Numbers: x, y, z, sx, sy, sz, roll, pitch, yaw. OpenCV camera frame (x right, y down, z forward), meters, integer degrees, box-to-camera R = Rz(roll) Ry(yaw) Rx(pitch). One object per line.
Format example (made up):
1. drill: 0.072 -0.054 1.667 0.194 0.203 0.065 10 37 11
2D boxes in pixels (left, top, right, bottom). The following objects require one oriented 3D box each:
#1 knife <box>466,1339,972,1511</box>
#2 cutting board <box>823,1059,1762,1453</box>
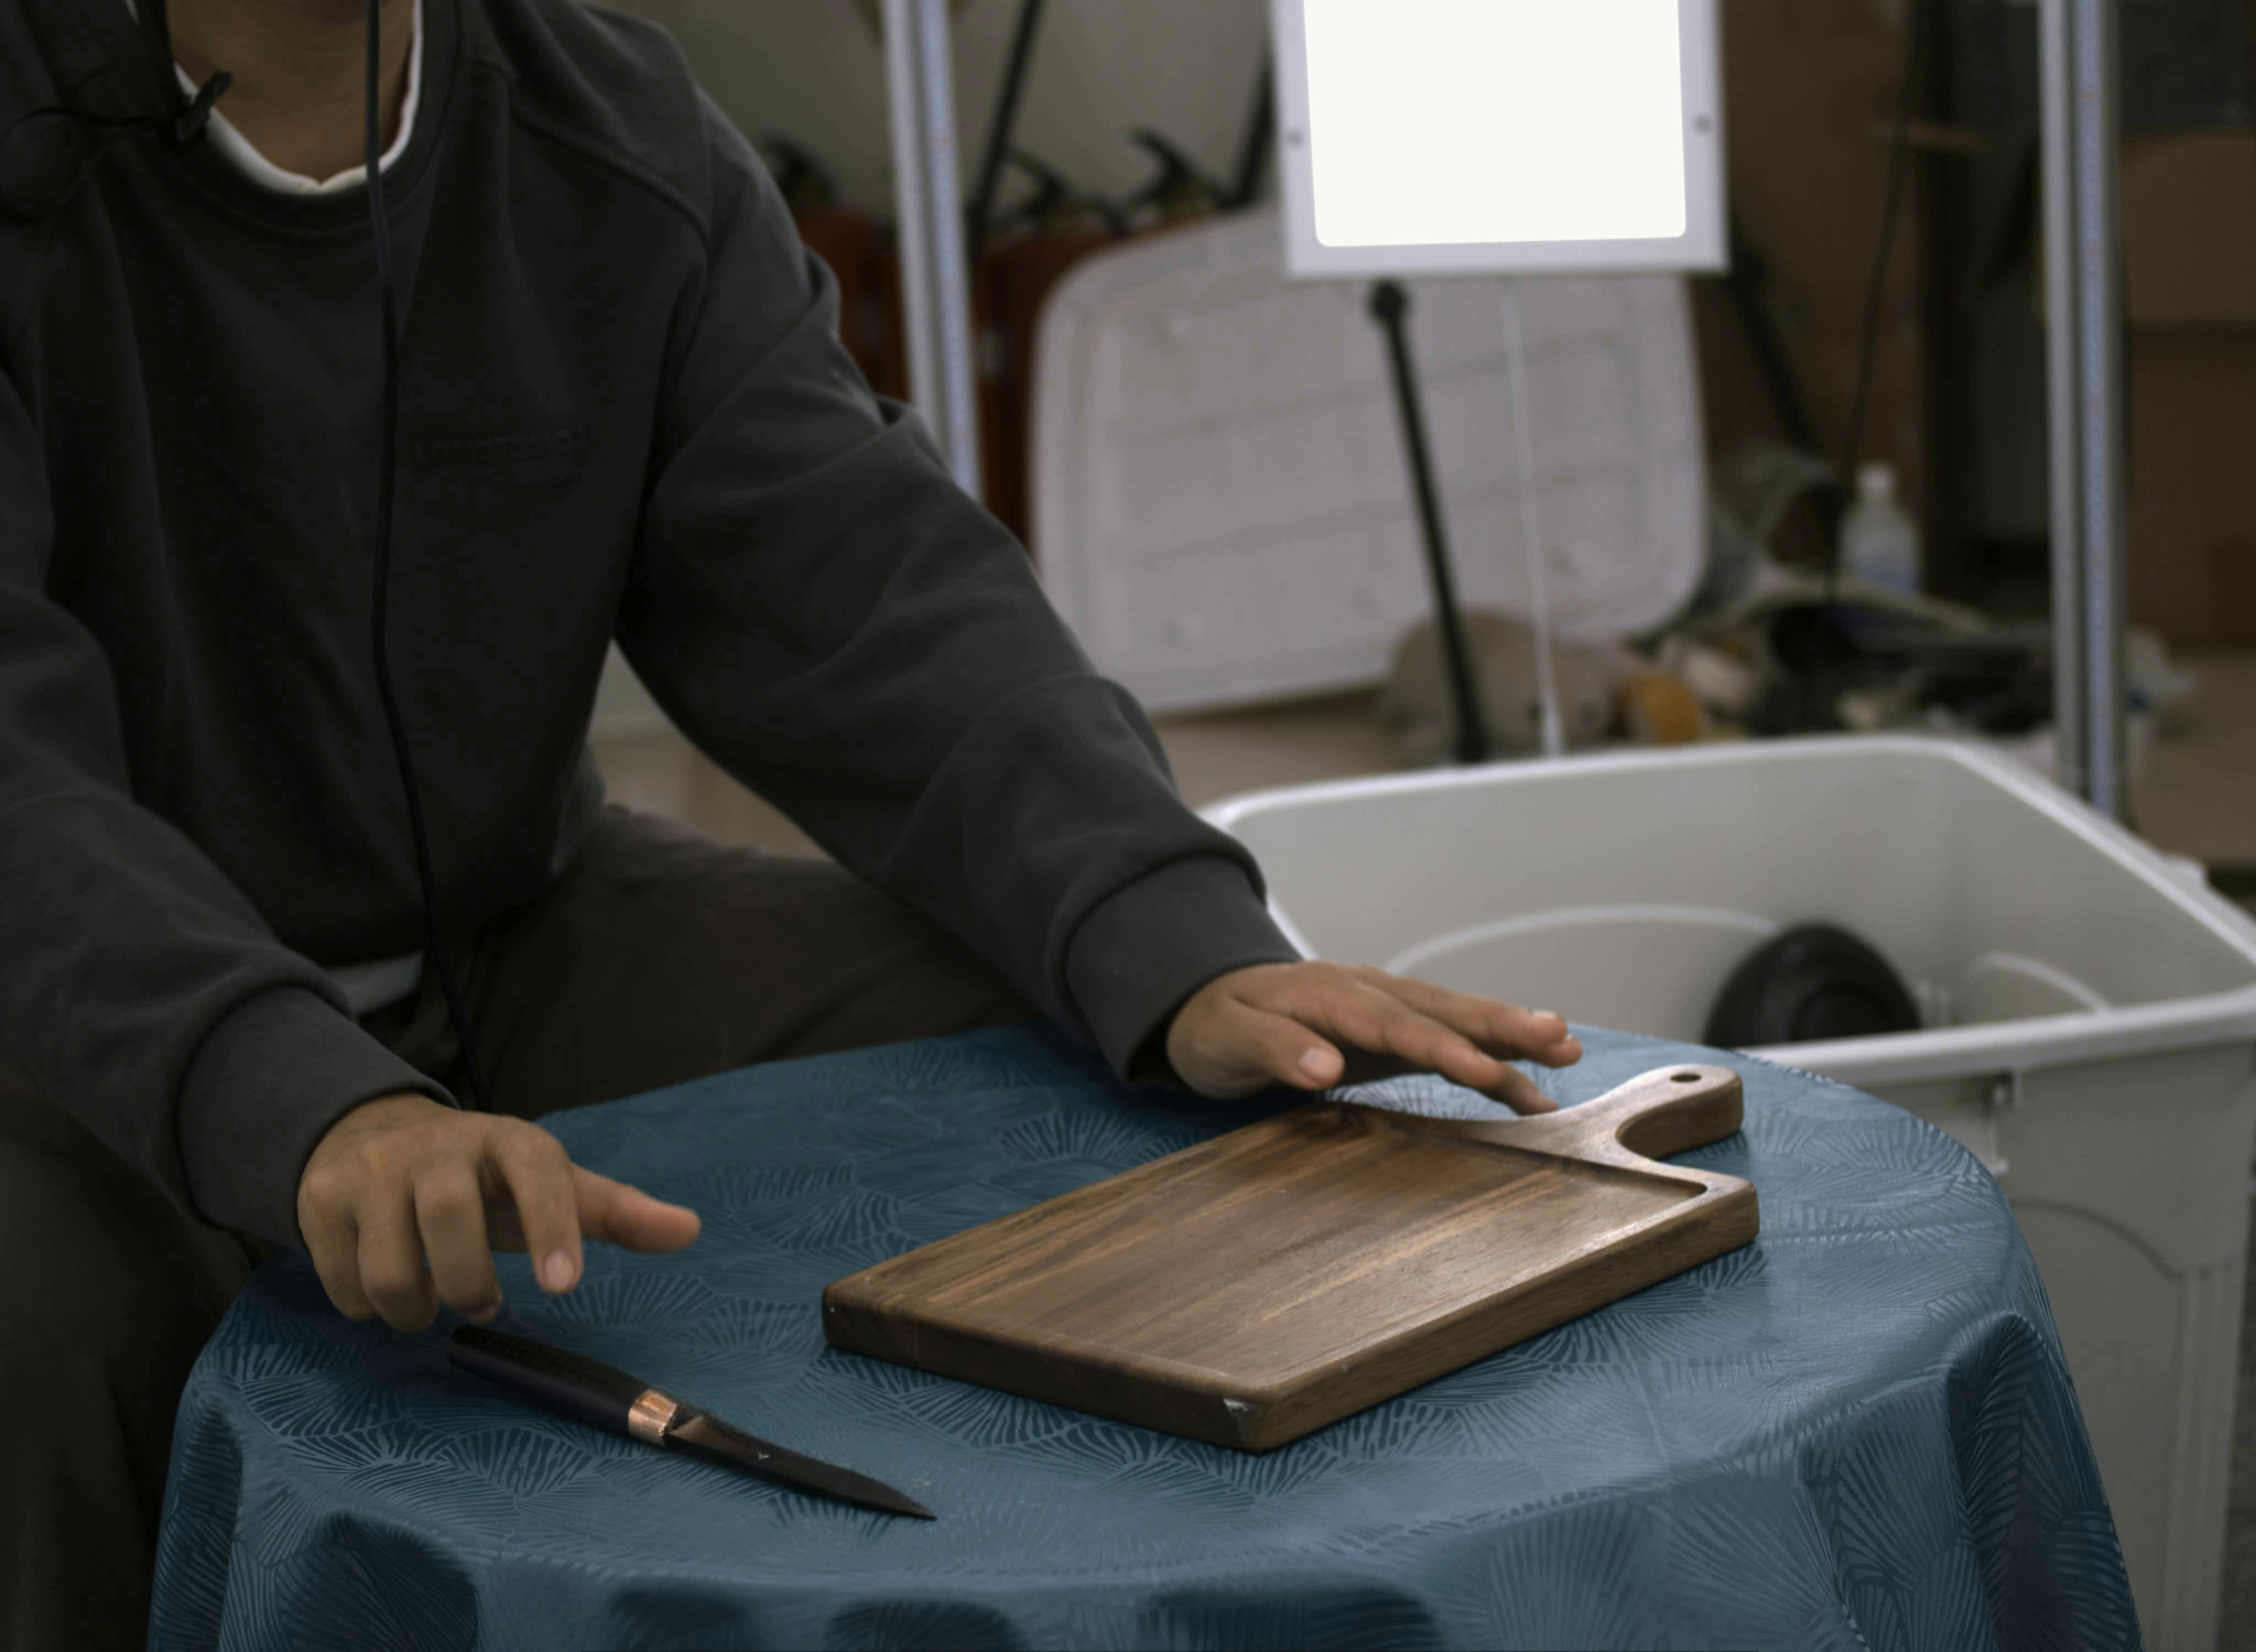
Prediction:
1. knife: -0.128 0.184 1.684 0.025 0.017 0.230 -10 14 -42
2. cutting board: 0.089 0.130 1.809 0.343 0.023 0.205 -17 18 -42
